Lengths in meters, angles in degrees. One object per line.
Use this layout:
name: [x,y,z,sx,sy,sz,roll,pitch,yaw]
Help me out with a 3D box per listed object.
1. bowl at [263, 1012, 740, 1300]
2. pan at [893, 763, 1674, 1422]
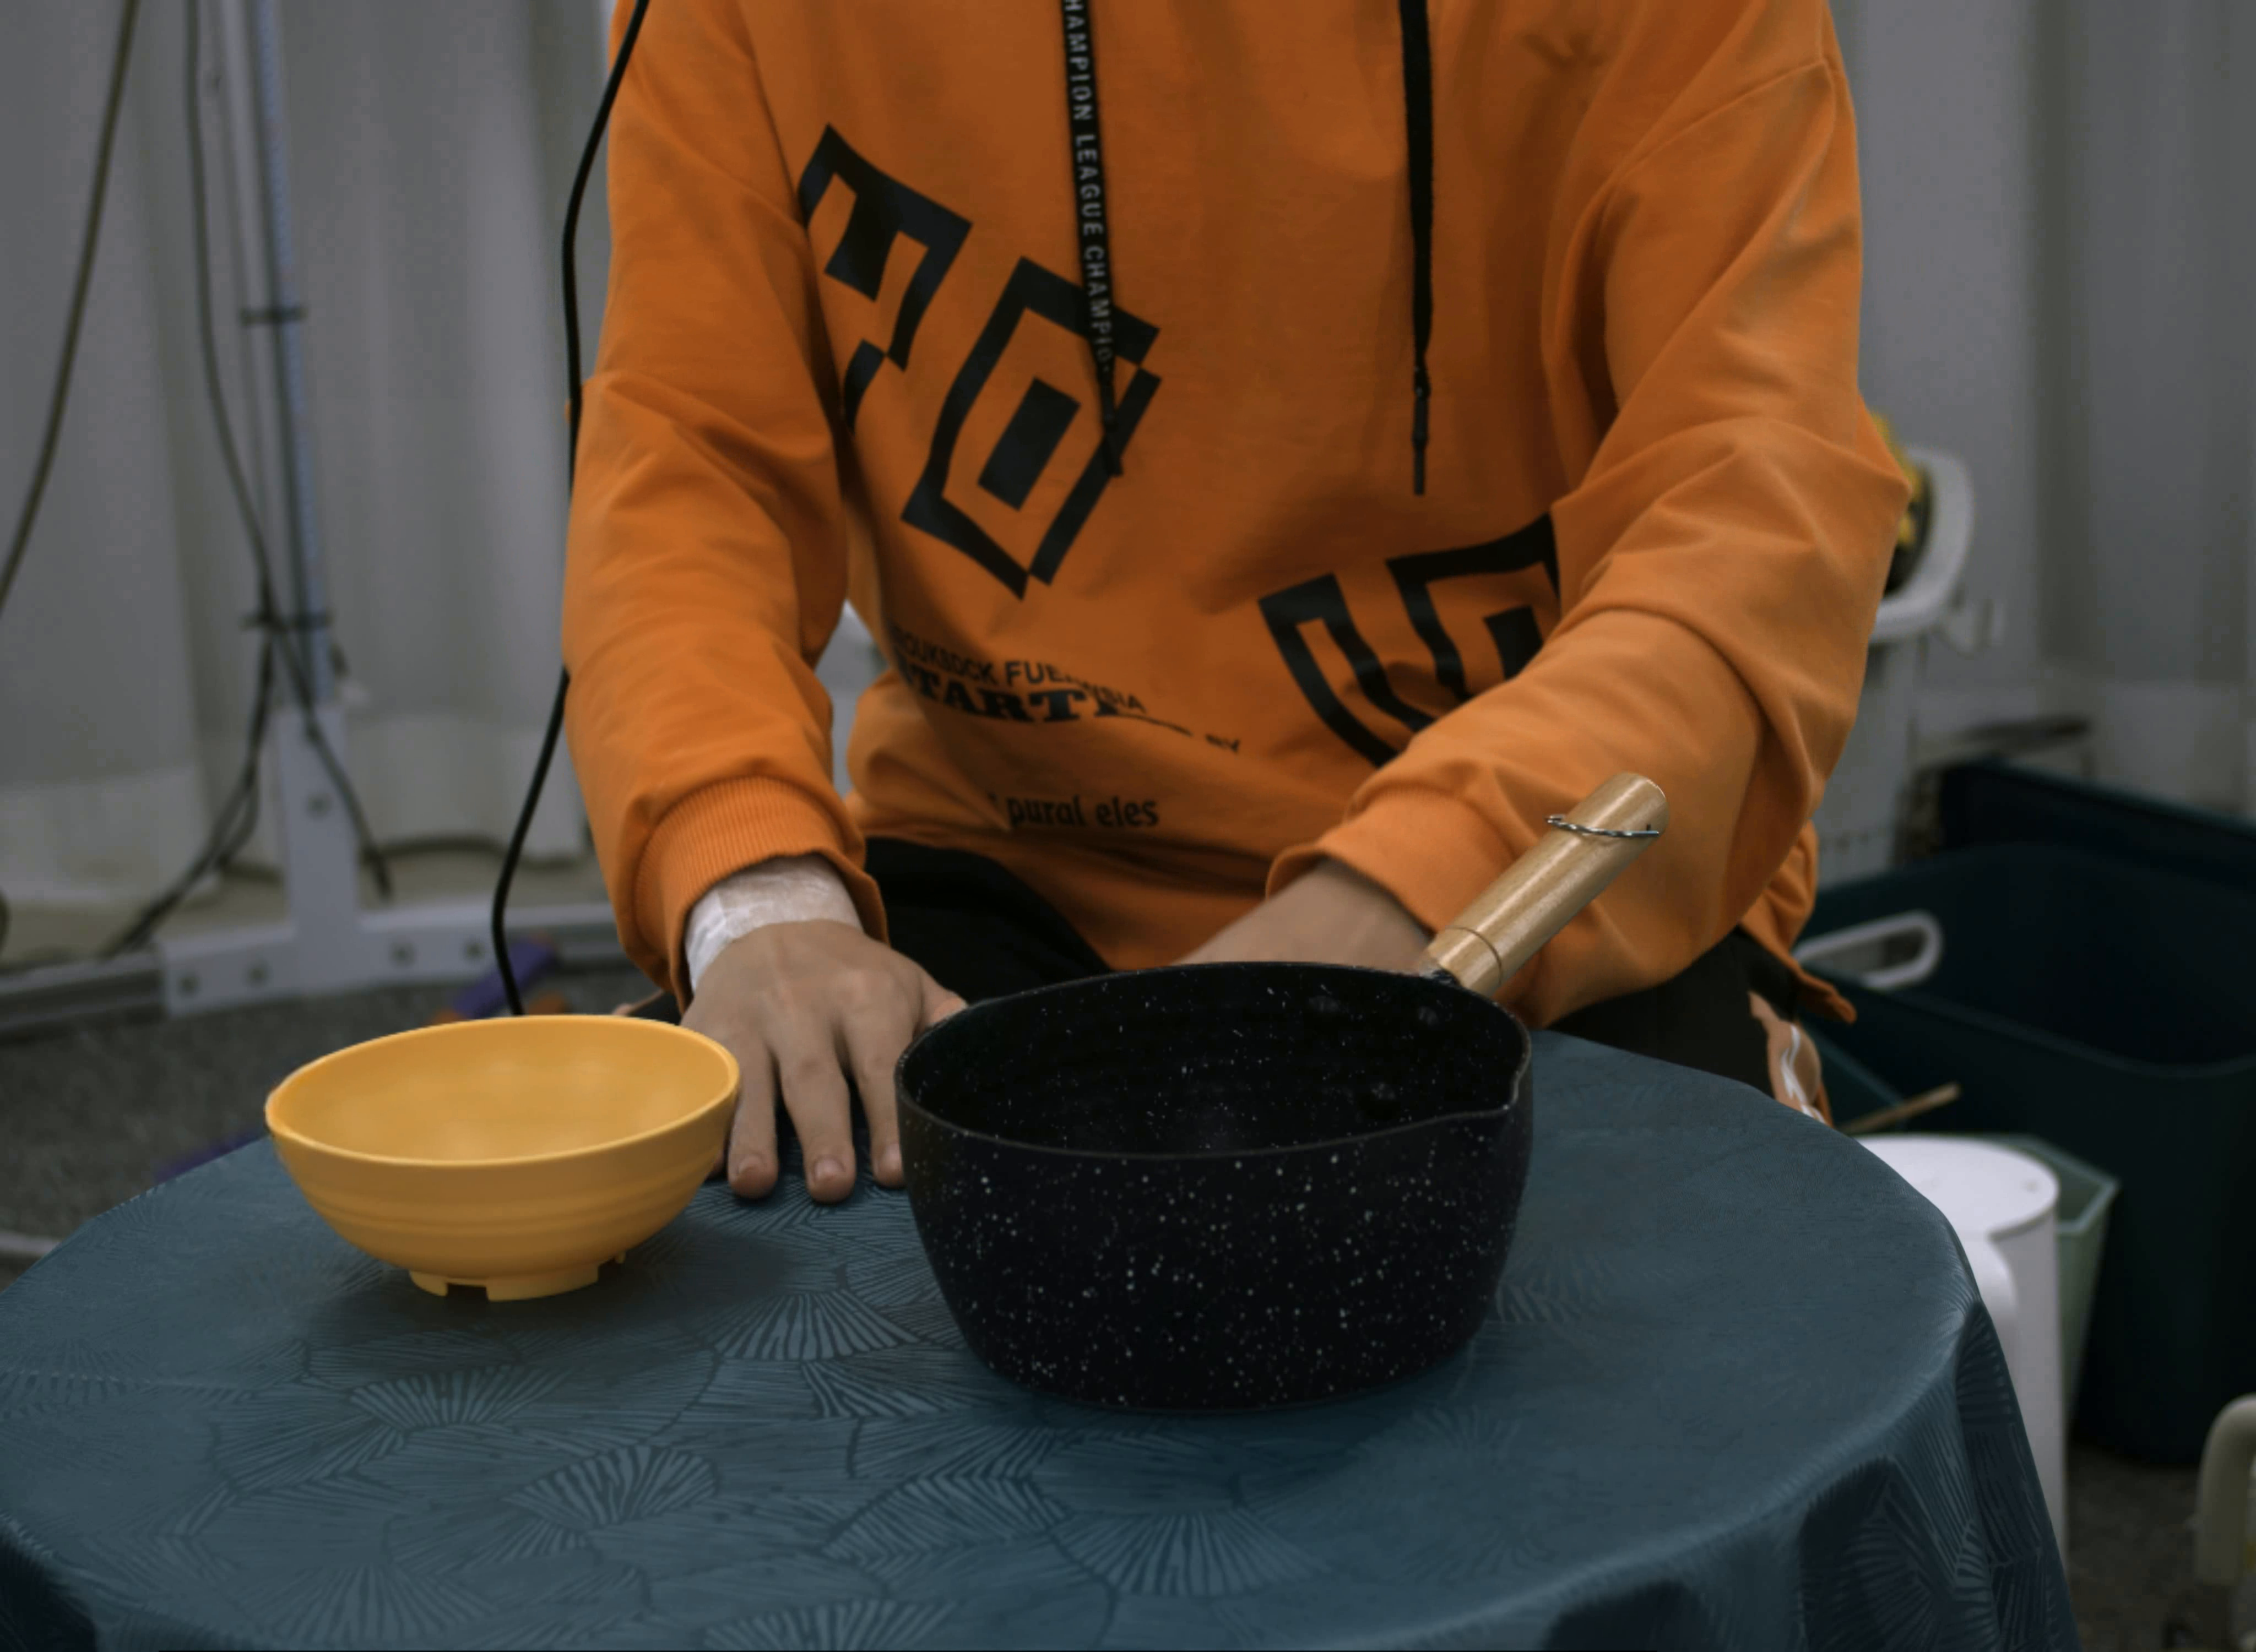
bowl: [-0.189,0.107,1.671,0.145,0.060,0.146,-2,15,0]
pan: [0.070,0.075,1.642,0.208,0.108,0.343,5,18,34]
